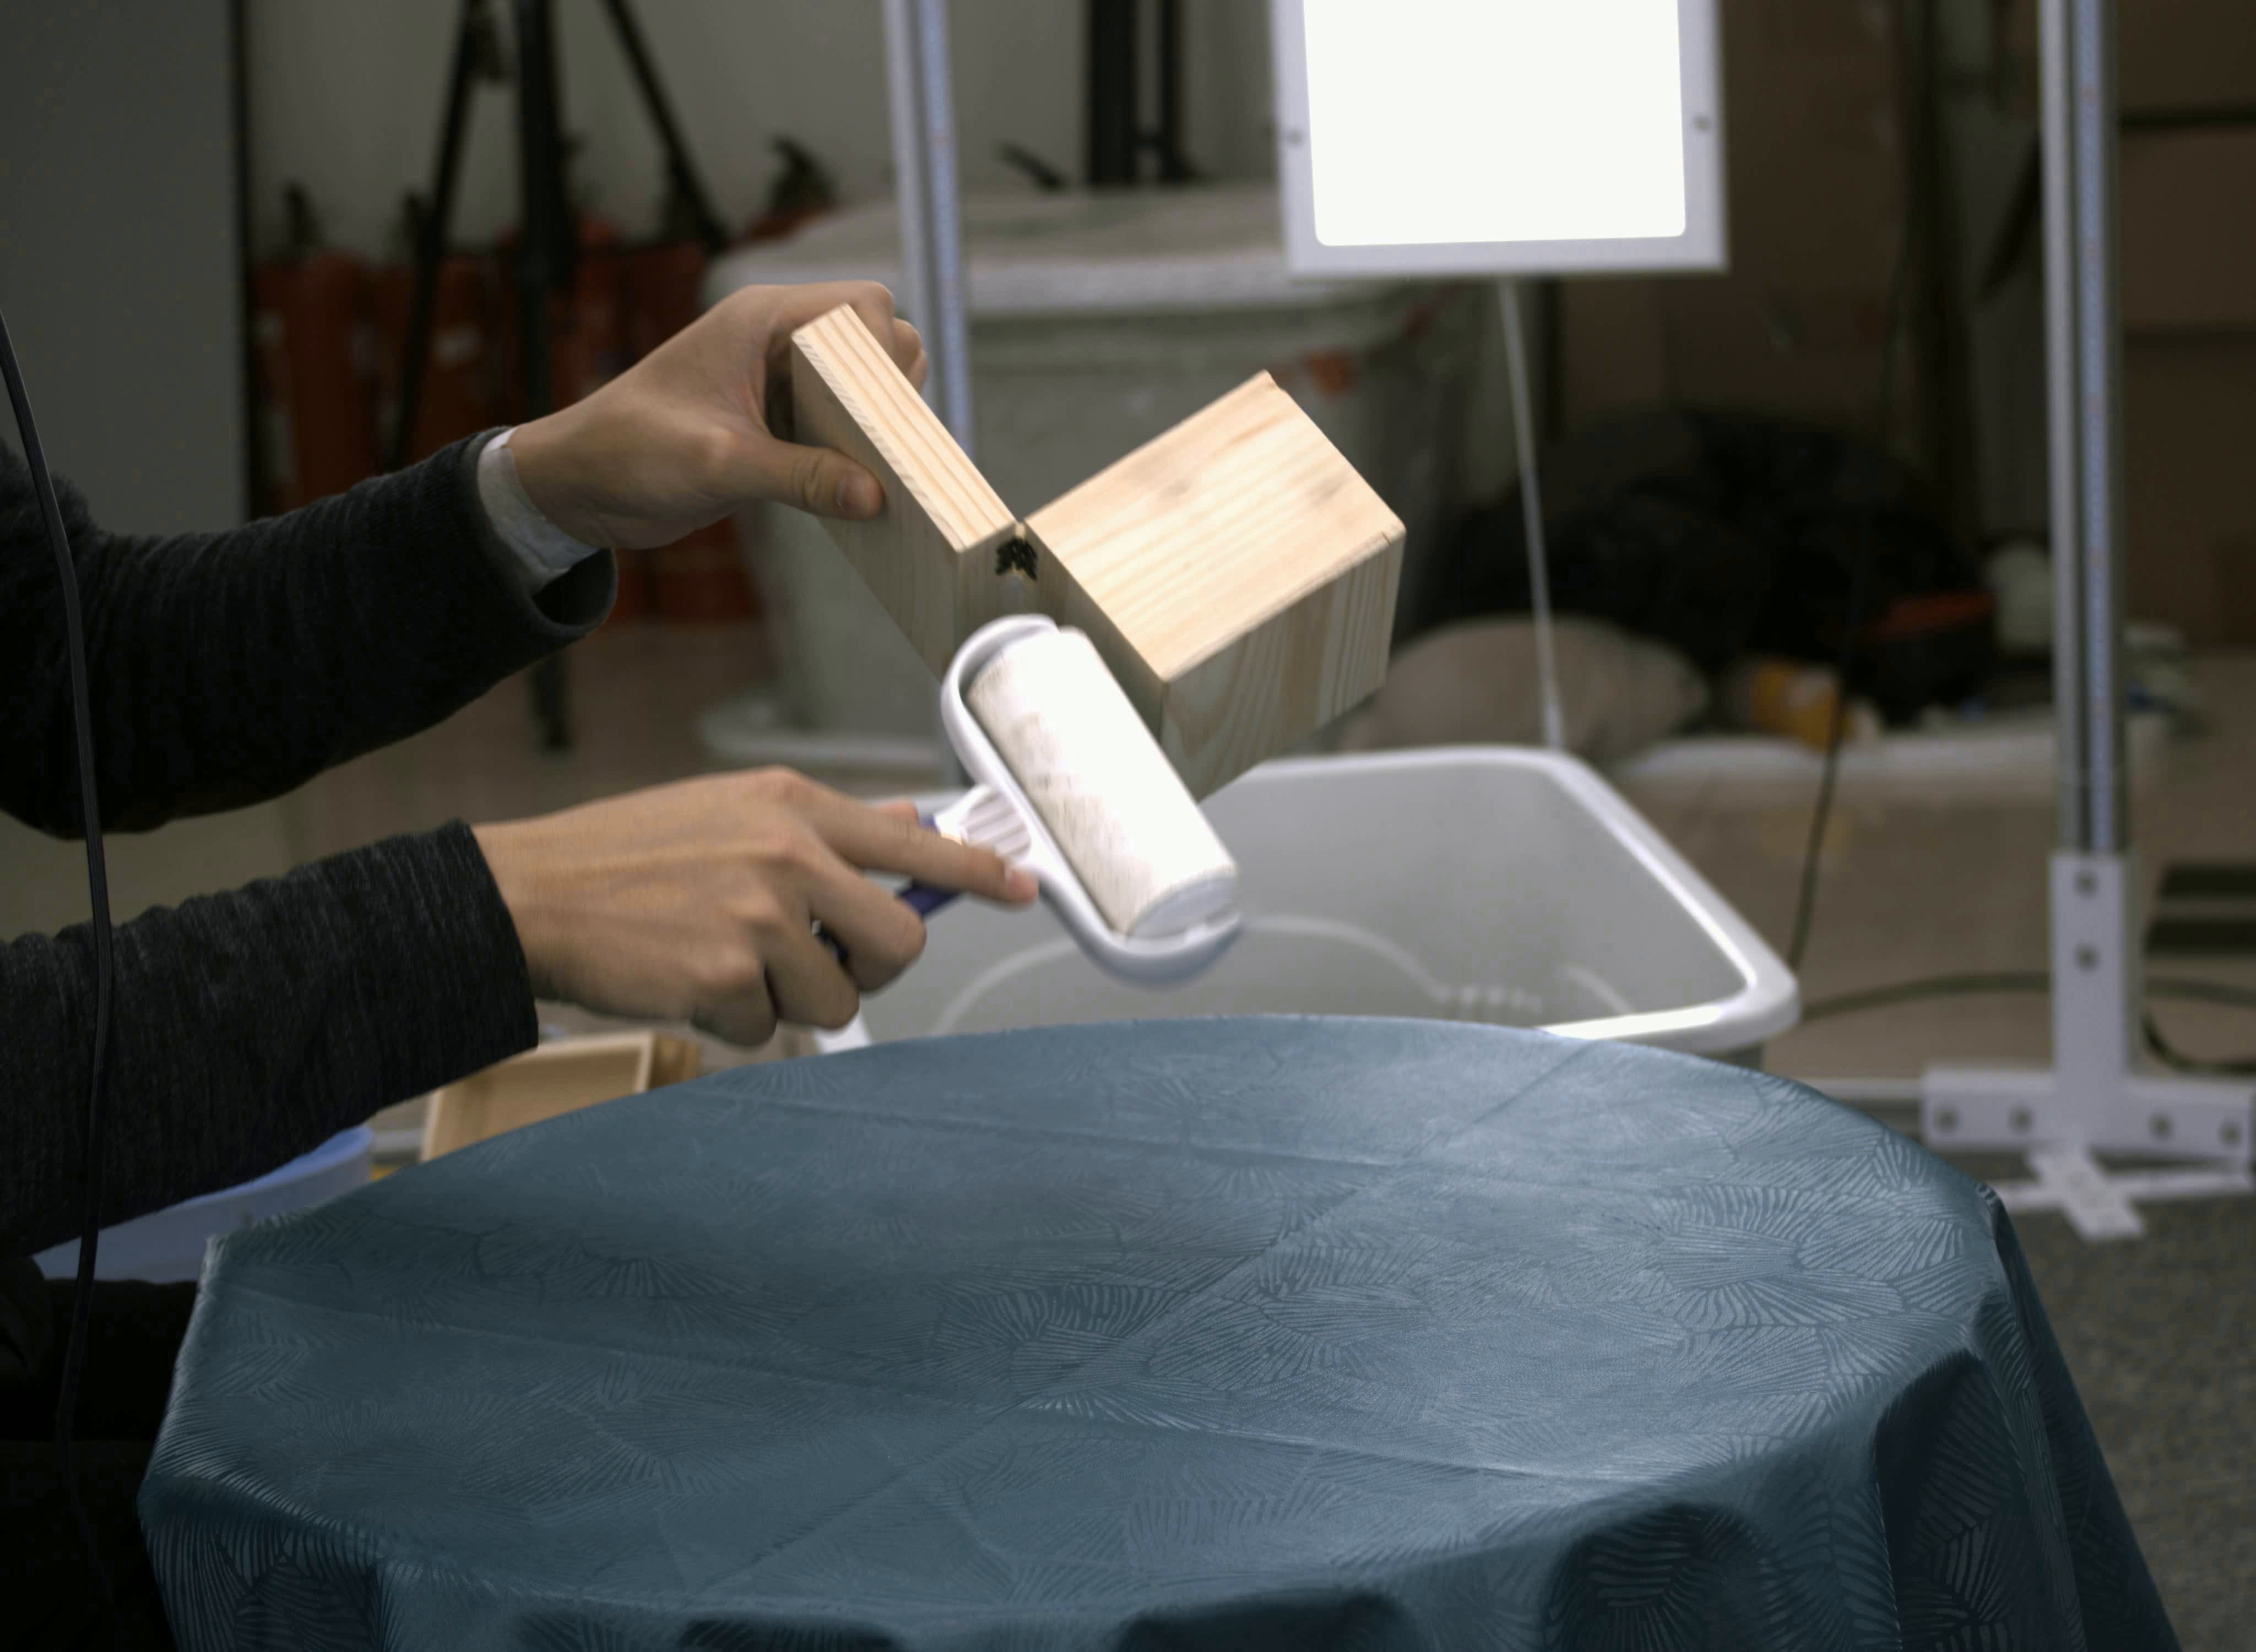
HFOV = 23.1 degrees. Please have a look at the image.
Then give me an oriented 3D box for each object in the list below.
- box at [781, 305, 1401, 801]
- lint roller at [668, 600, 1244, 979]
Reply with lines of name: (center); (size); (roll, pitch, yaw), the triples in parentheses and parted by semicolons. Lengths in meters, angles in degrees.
box: (-0.013, -0.108, 1.853); (0.132, 0.103, 0.186); (-33, 65, -18)
lint roller: (-0.062, 0.002, 1.711); (0.176, 0.051, 0.134); (-16, 62, -30)
